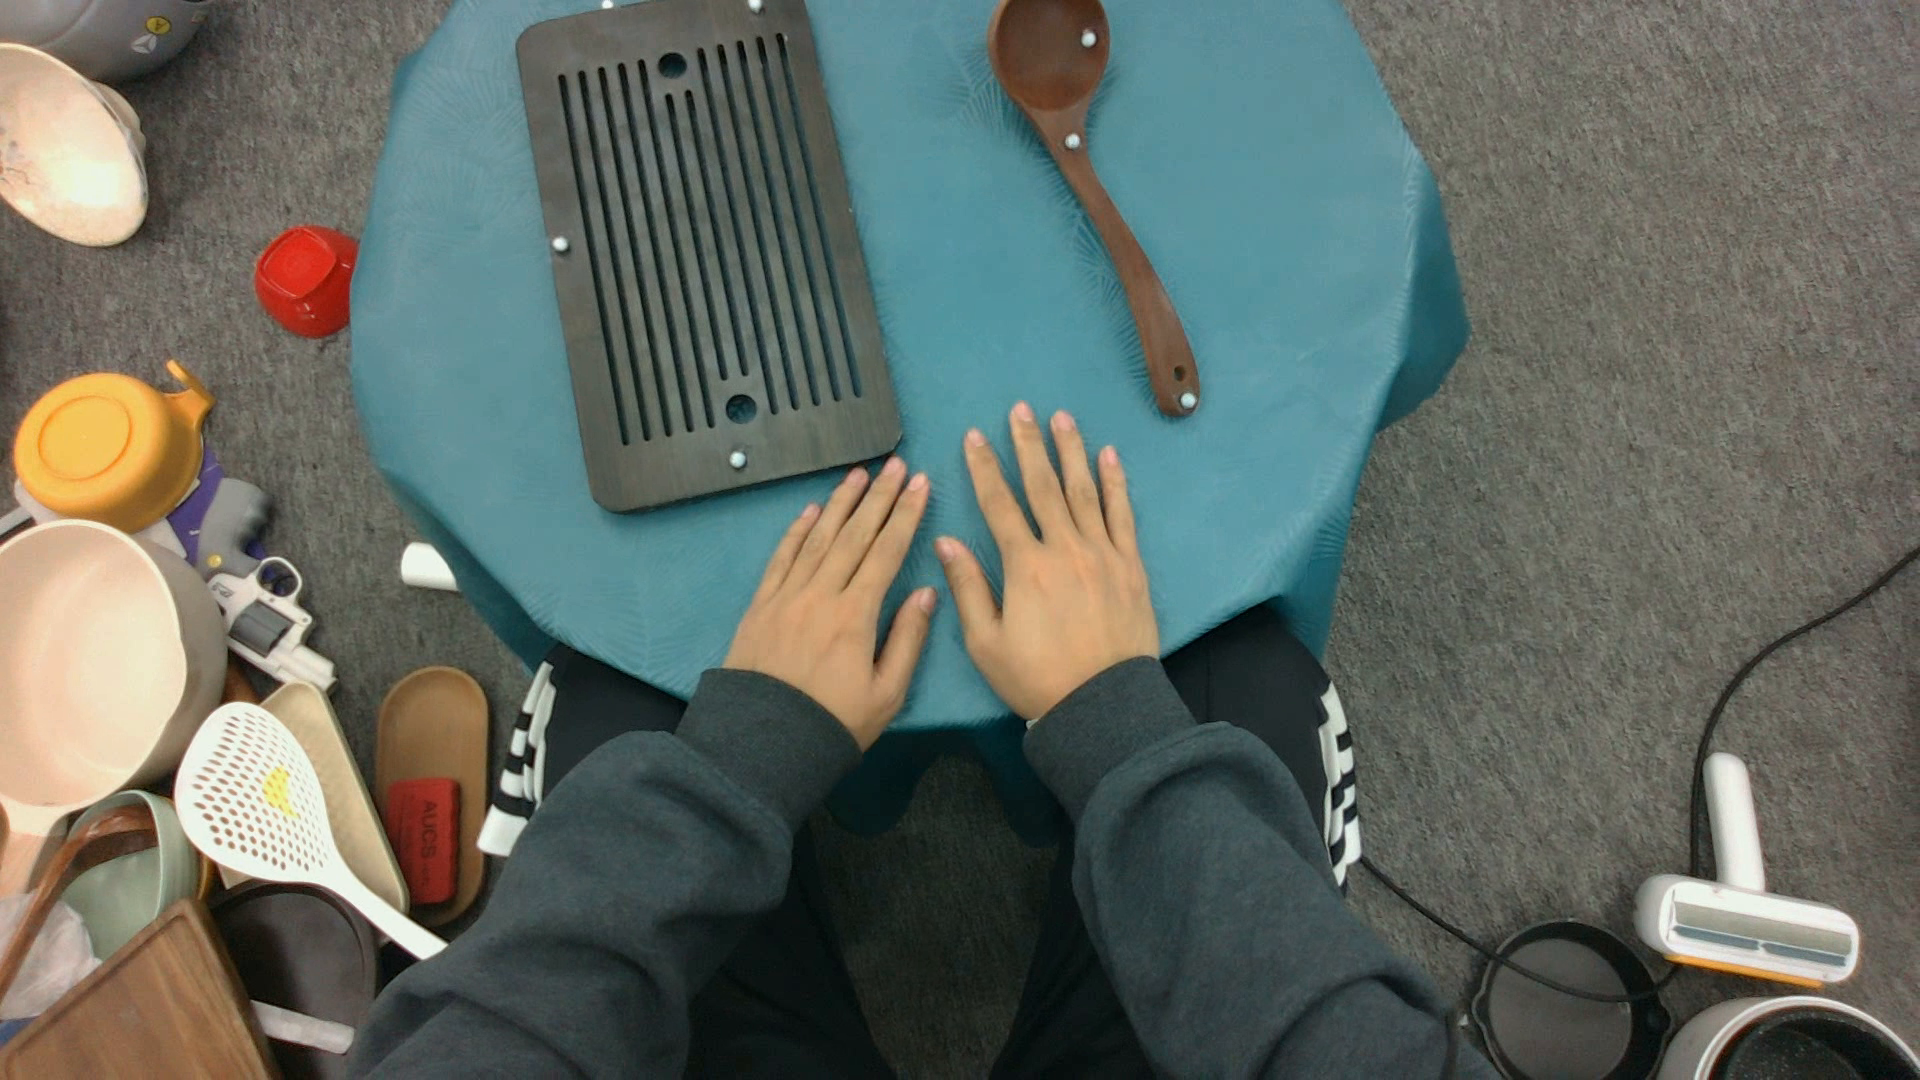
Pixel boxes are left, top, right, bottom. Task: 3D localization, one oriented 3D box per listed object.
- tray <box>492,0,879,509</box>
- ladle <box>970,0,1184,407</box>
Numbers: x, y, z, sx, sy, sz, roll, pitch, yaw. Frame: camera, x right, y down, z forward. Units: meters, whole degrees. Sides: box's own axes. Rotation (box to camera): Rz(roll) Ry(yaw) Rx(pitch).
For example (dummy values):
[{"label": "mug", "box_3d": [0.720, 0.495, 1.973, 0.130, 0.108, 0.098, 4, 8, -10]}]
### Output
[{"label": "tray", "box_3d": [-0.157, -0.174, 0.774, 0.170, 0.018, 0.306, -12, 75, -4]}, {"label": "ladle", "box_3d": [0.074, -0.199, 0.760, 0.077, 0.065, 0.260, -16, 75, -20]}]
